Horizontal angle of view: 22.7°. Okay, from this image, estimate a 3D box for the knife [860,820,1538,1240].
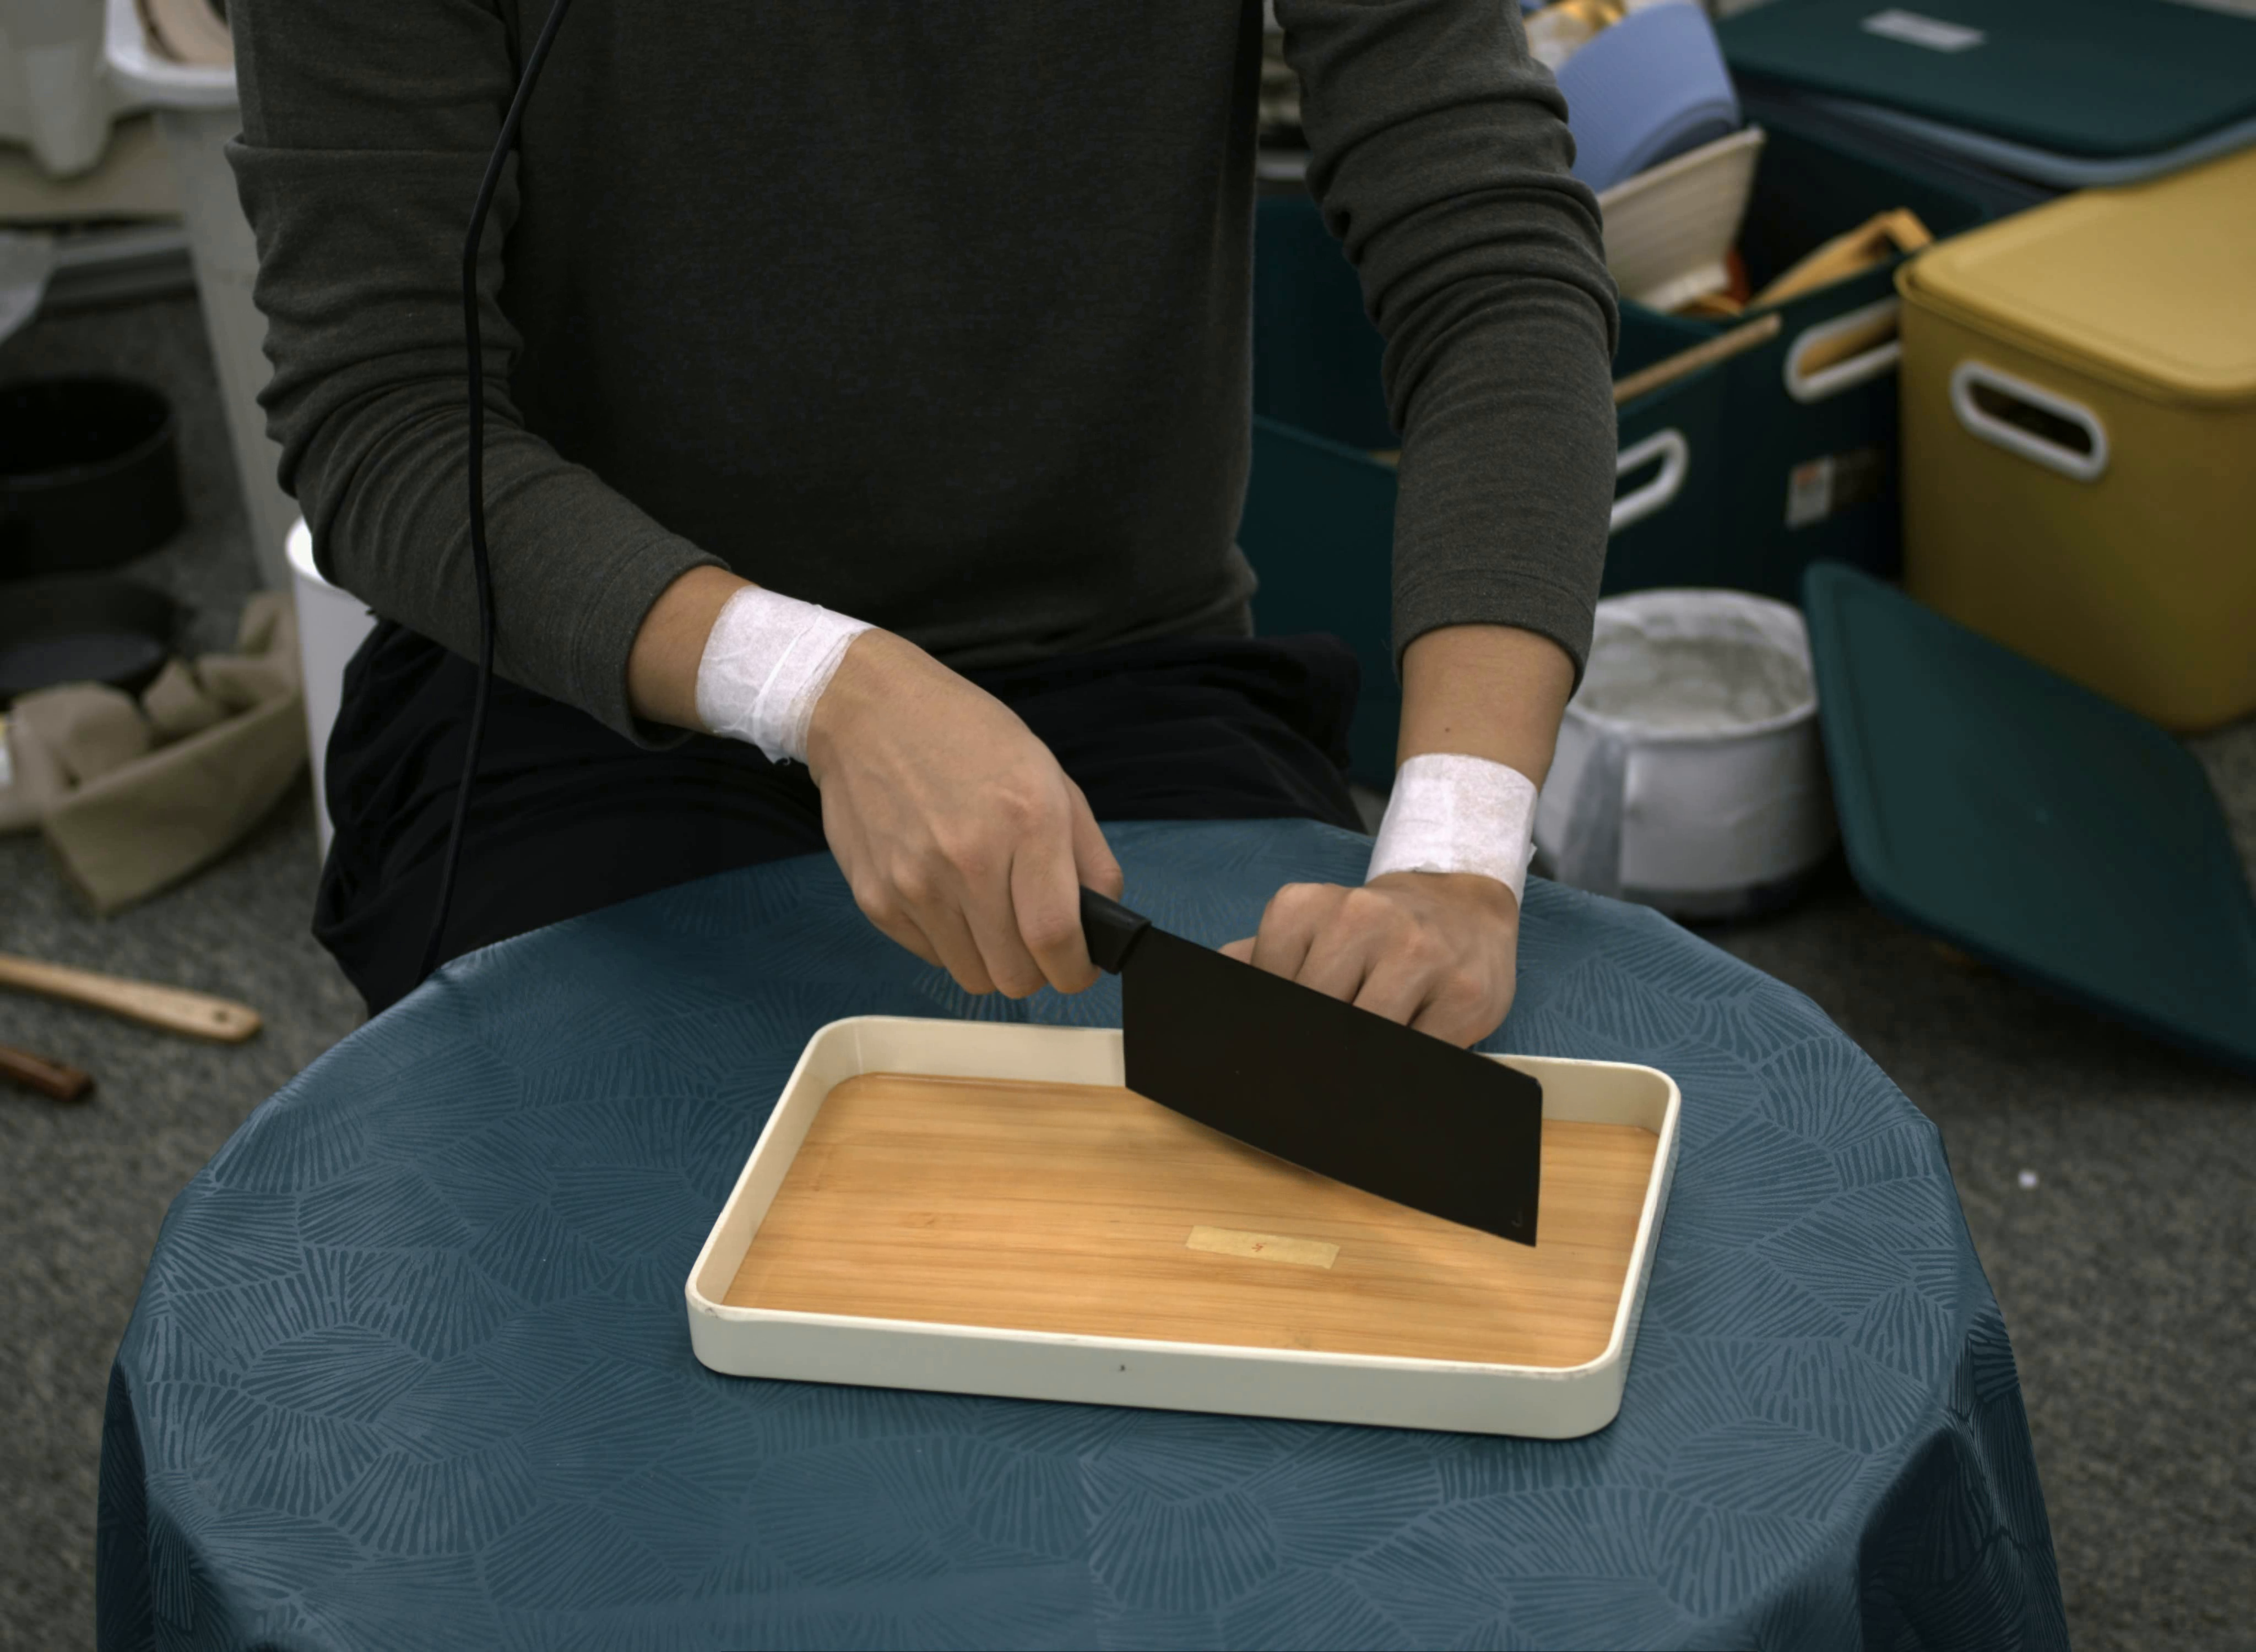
[{"bbox_3d":[0.020,0.062,1.860,0.302,0.080,0.021,25,33,37],"label":"knife"}]

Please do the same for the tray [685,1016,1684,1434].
[{"bbox_3d":[0.022,0.127,1.821,0.298,0.027,0.195,3,28,12],"label":"tray"}]
